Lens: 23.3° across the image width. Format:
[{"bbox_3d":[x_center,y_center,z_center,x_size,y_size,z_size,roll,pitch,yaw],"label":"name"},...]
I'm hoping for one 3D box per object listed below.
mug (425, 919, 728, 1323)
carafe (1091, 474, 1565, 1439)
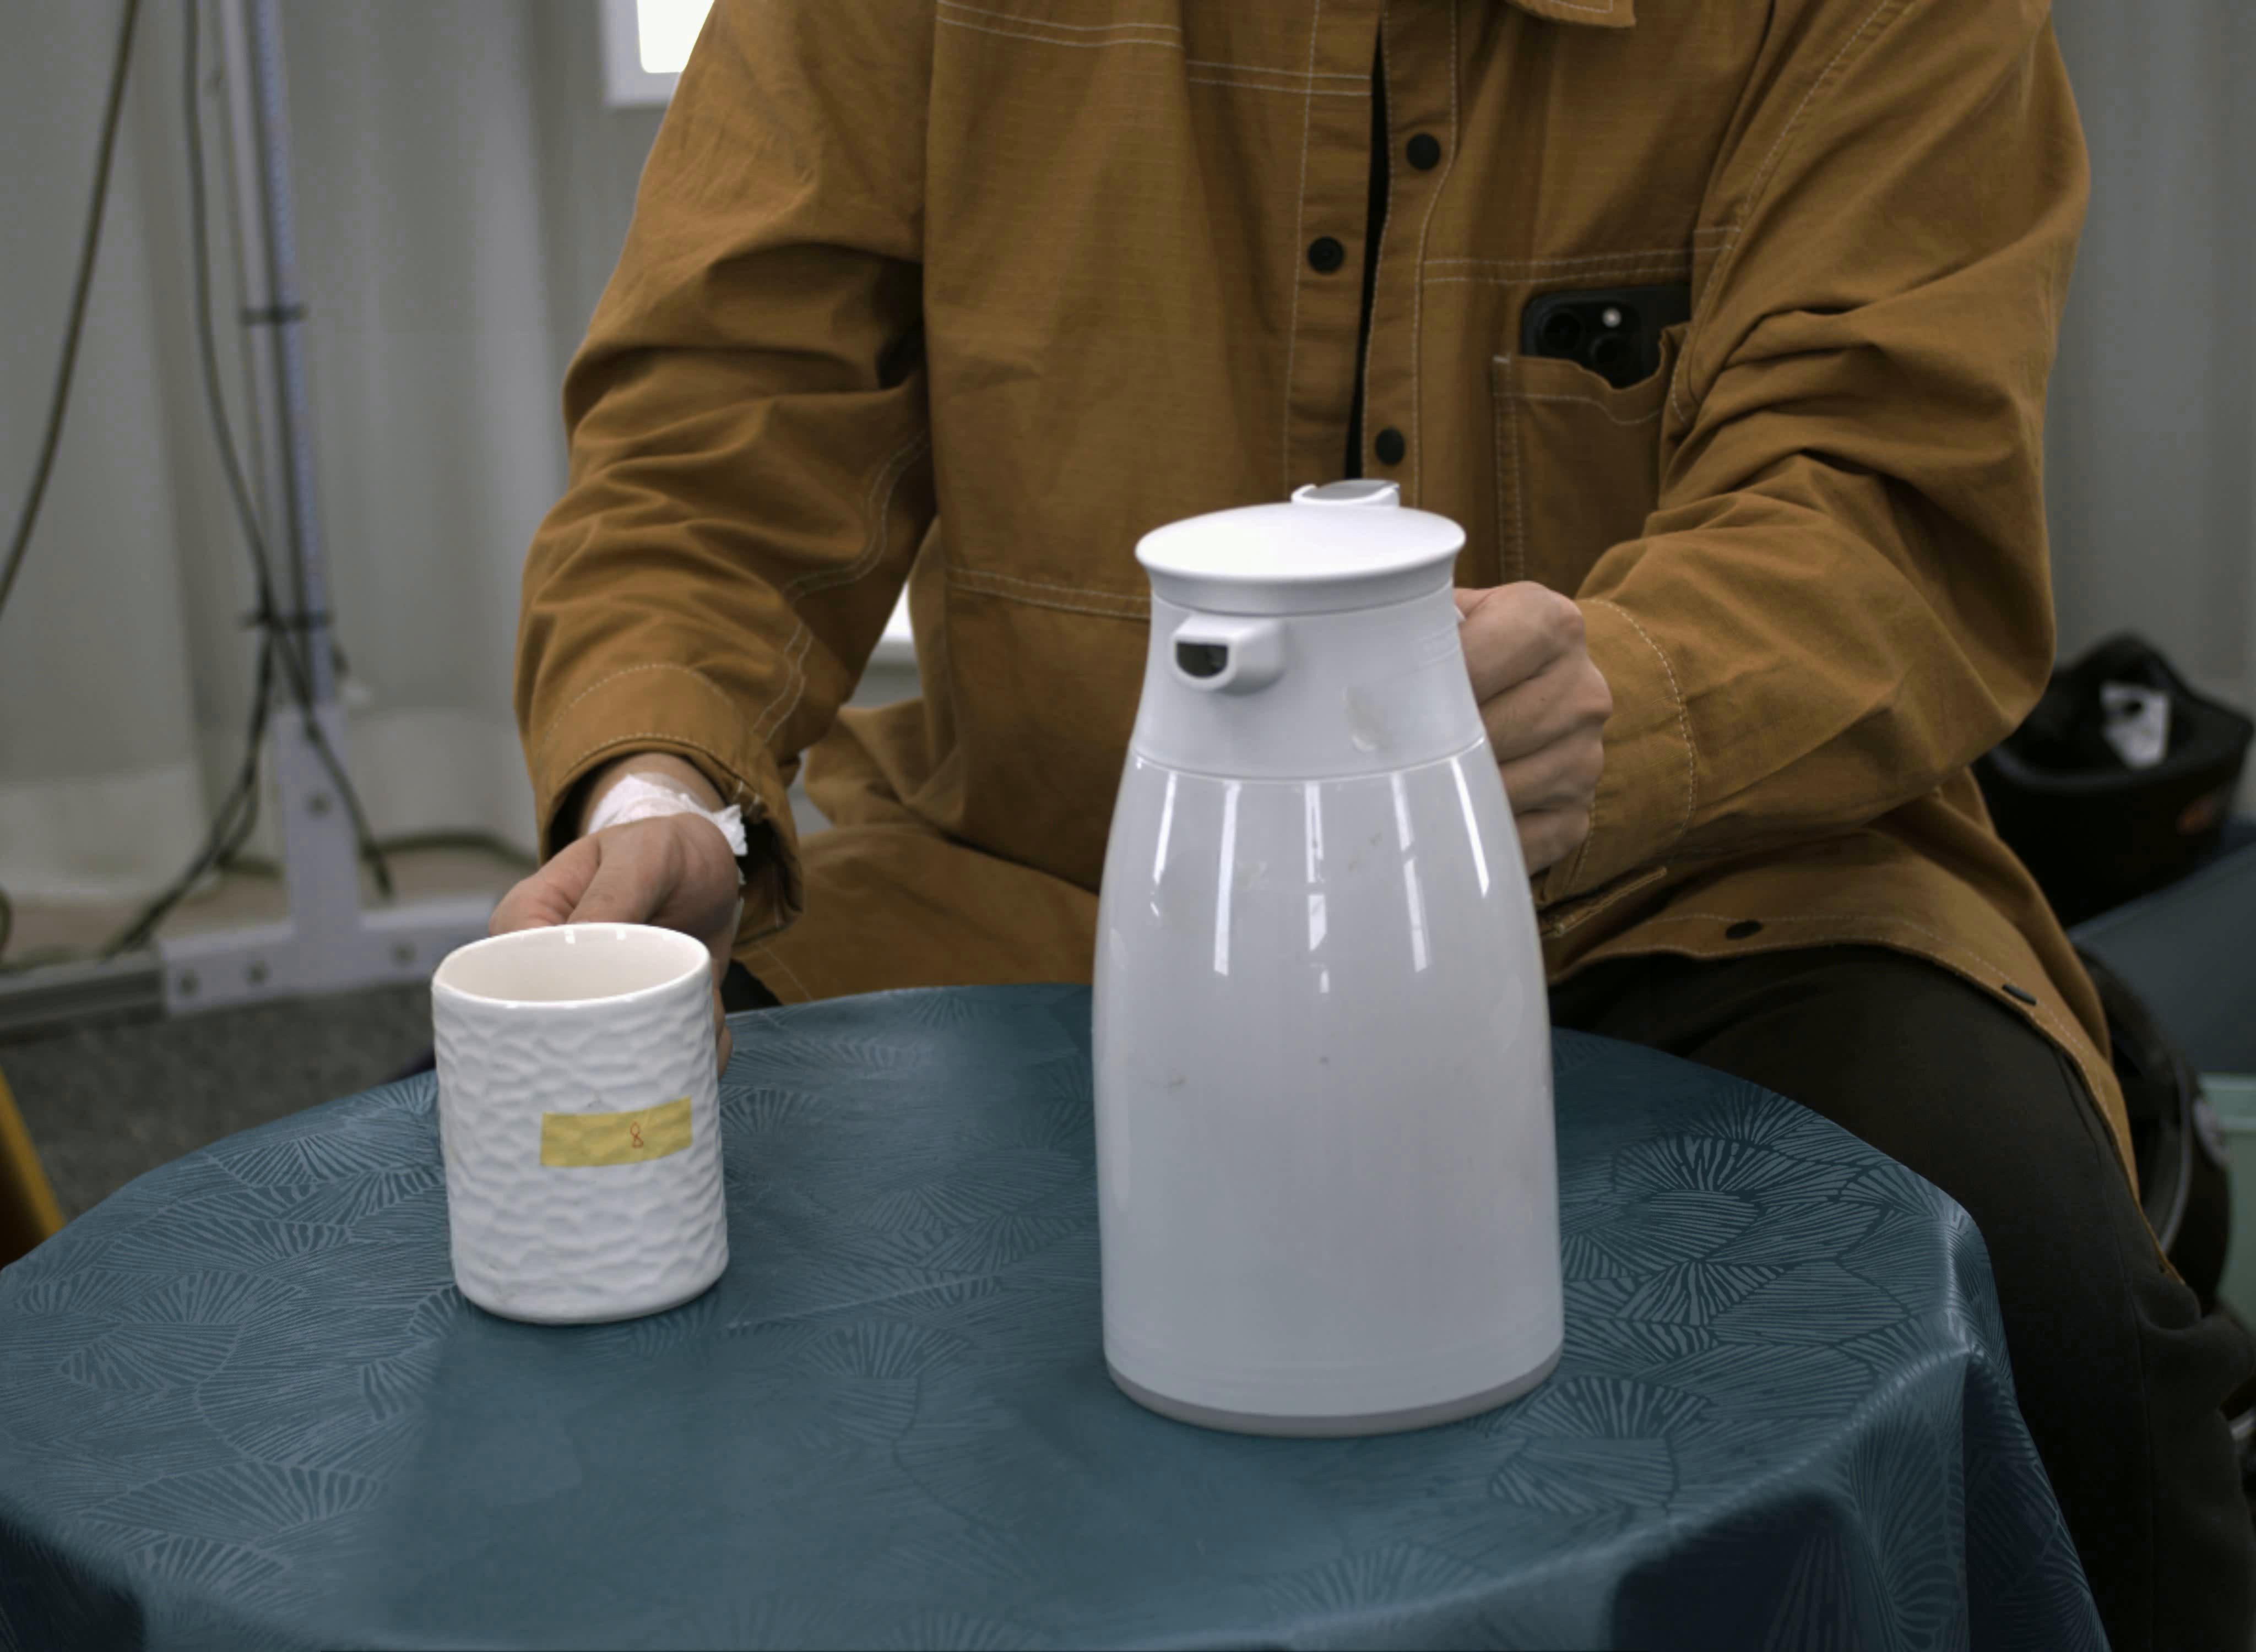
[{"bbox_3d":[-0.165,0.085,1.659,0.084,0.101,0.119,-3,14,-1],"label":"mug"},{"bbox_3d":[0.060,0.028,1.551,0.133,0.248,0.168,3,15,26],"label":"carafe"}]
